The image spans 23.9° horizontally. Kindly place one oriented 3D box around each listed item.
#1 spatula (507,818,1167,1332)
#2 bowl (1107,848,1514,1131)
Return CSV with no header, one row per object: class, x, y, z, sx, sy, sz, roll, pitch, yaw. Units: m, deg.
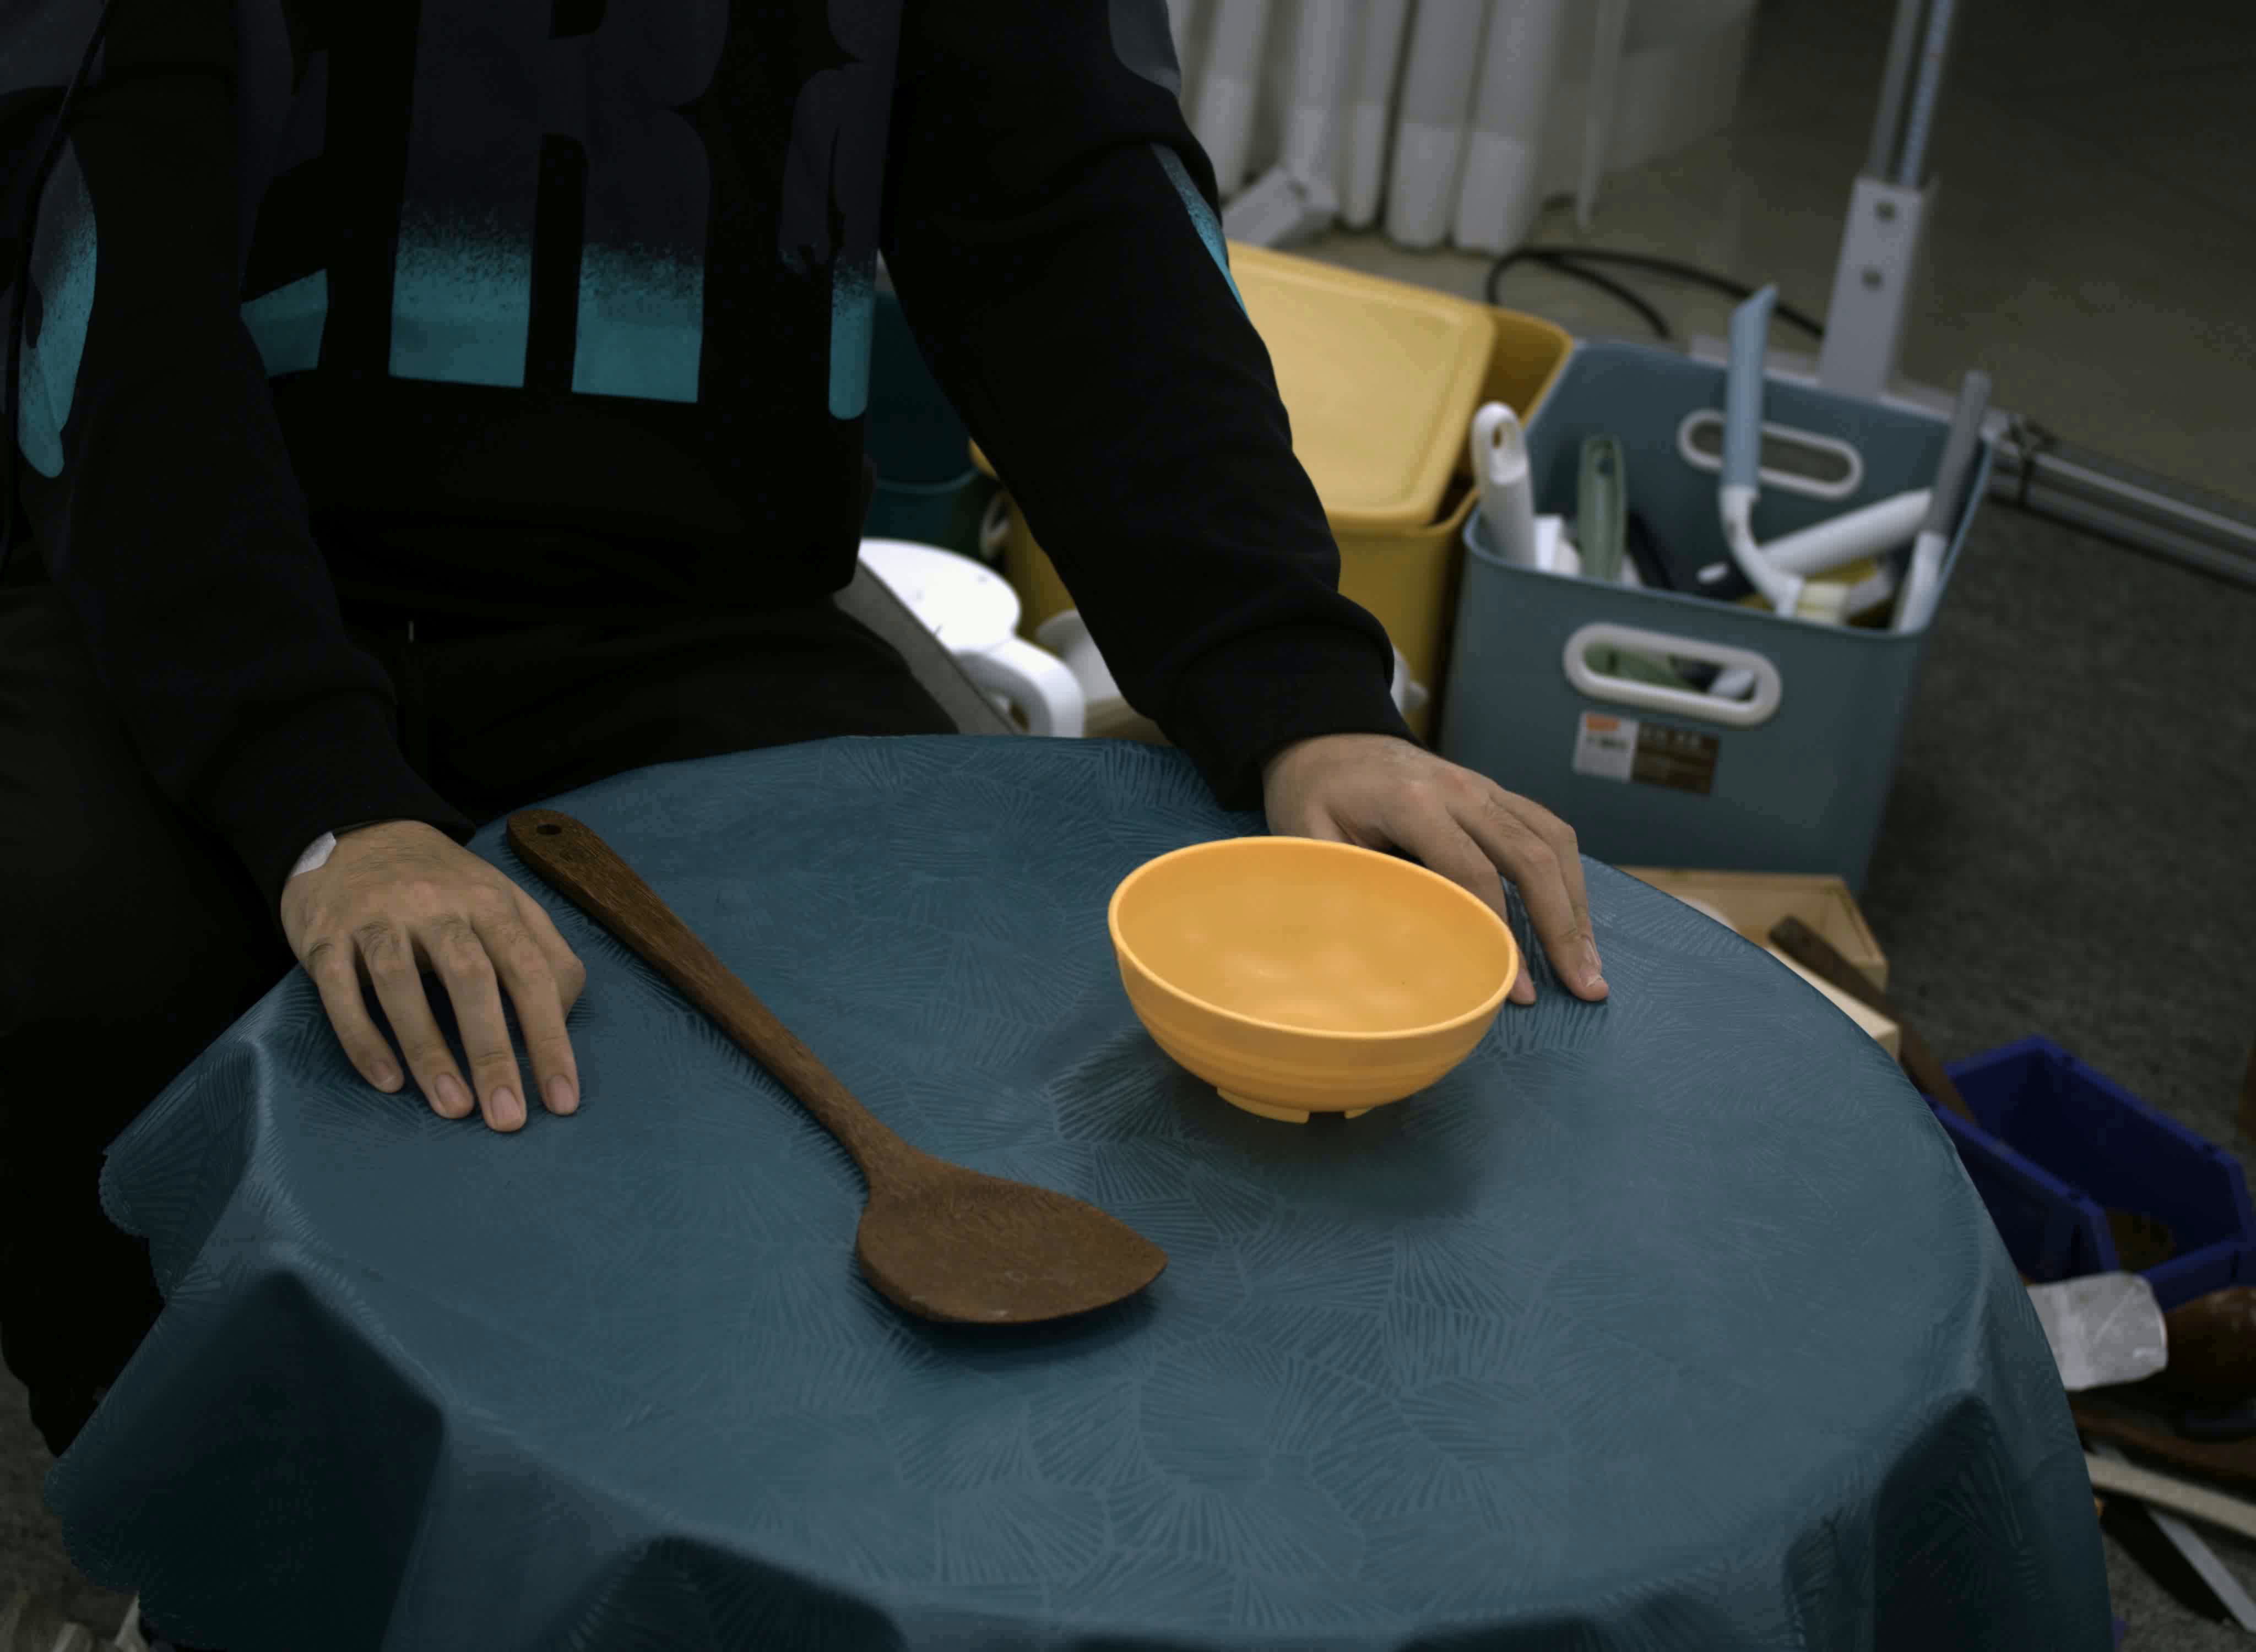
spatula,-0.122,0.078,1.848,0.095,0.016,0.389,-11,31,-32
bowl,0.060,0.066,1.869,0.145,0.060,0.146,7,24,-3
